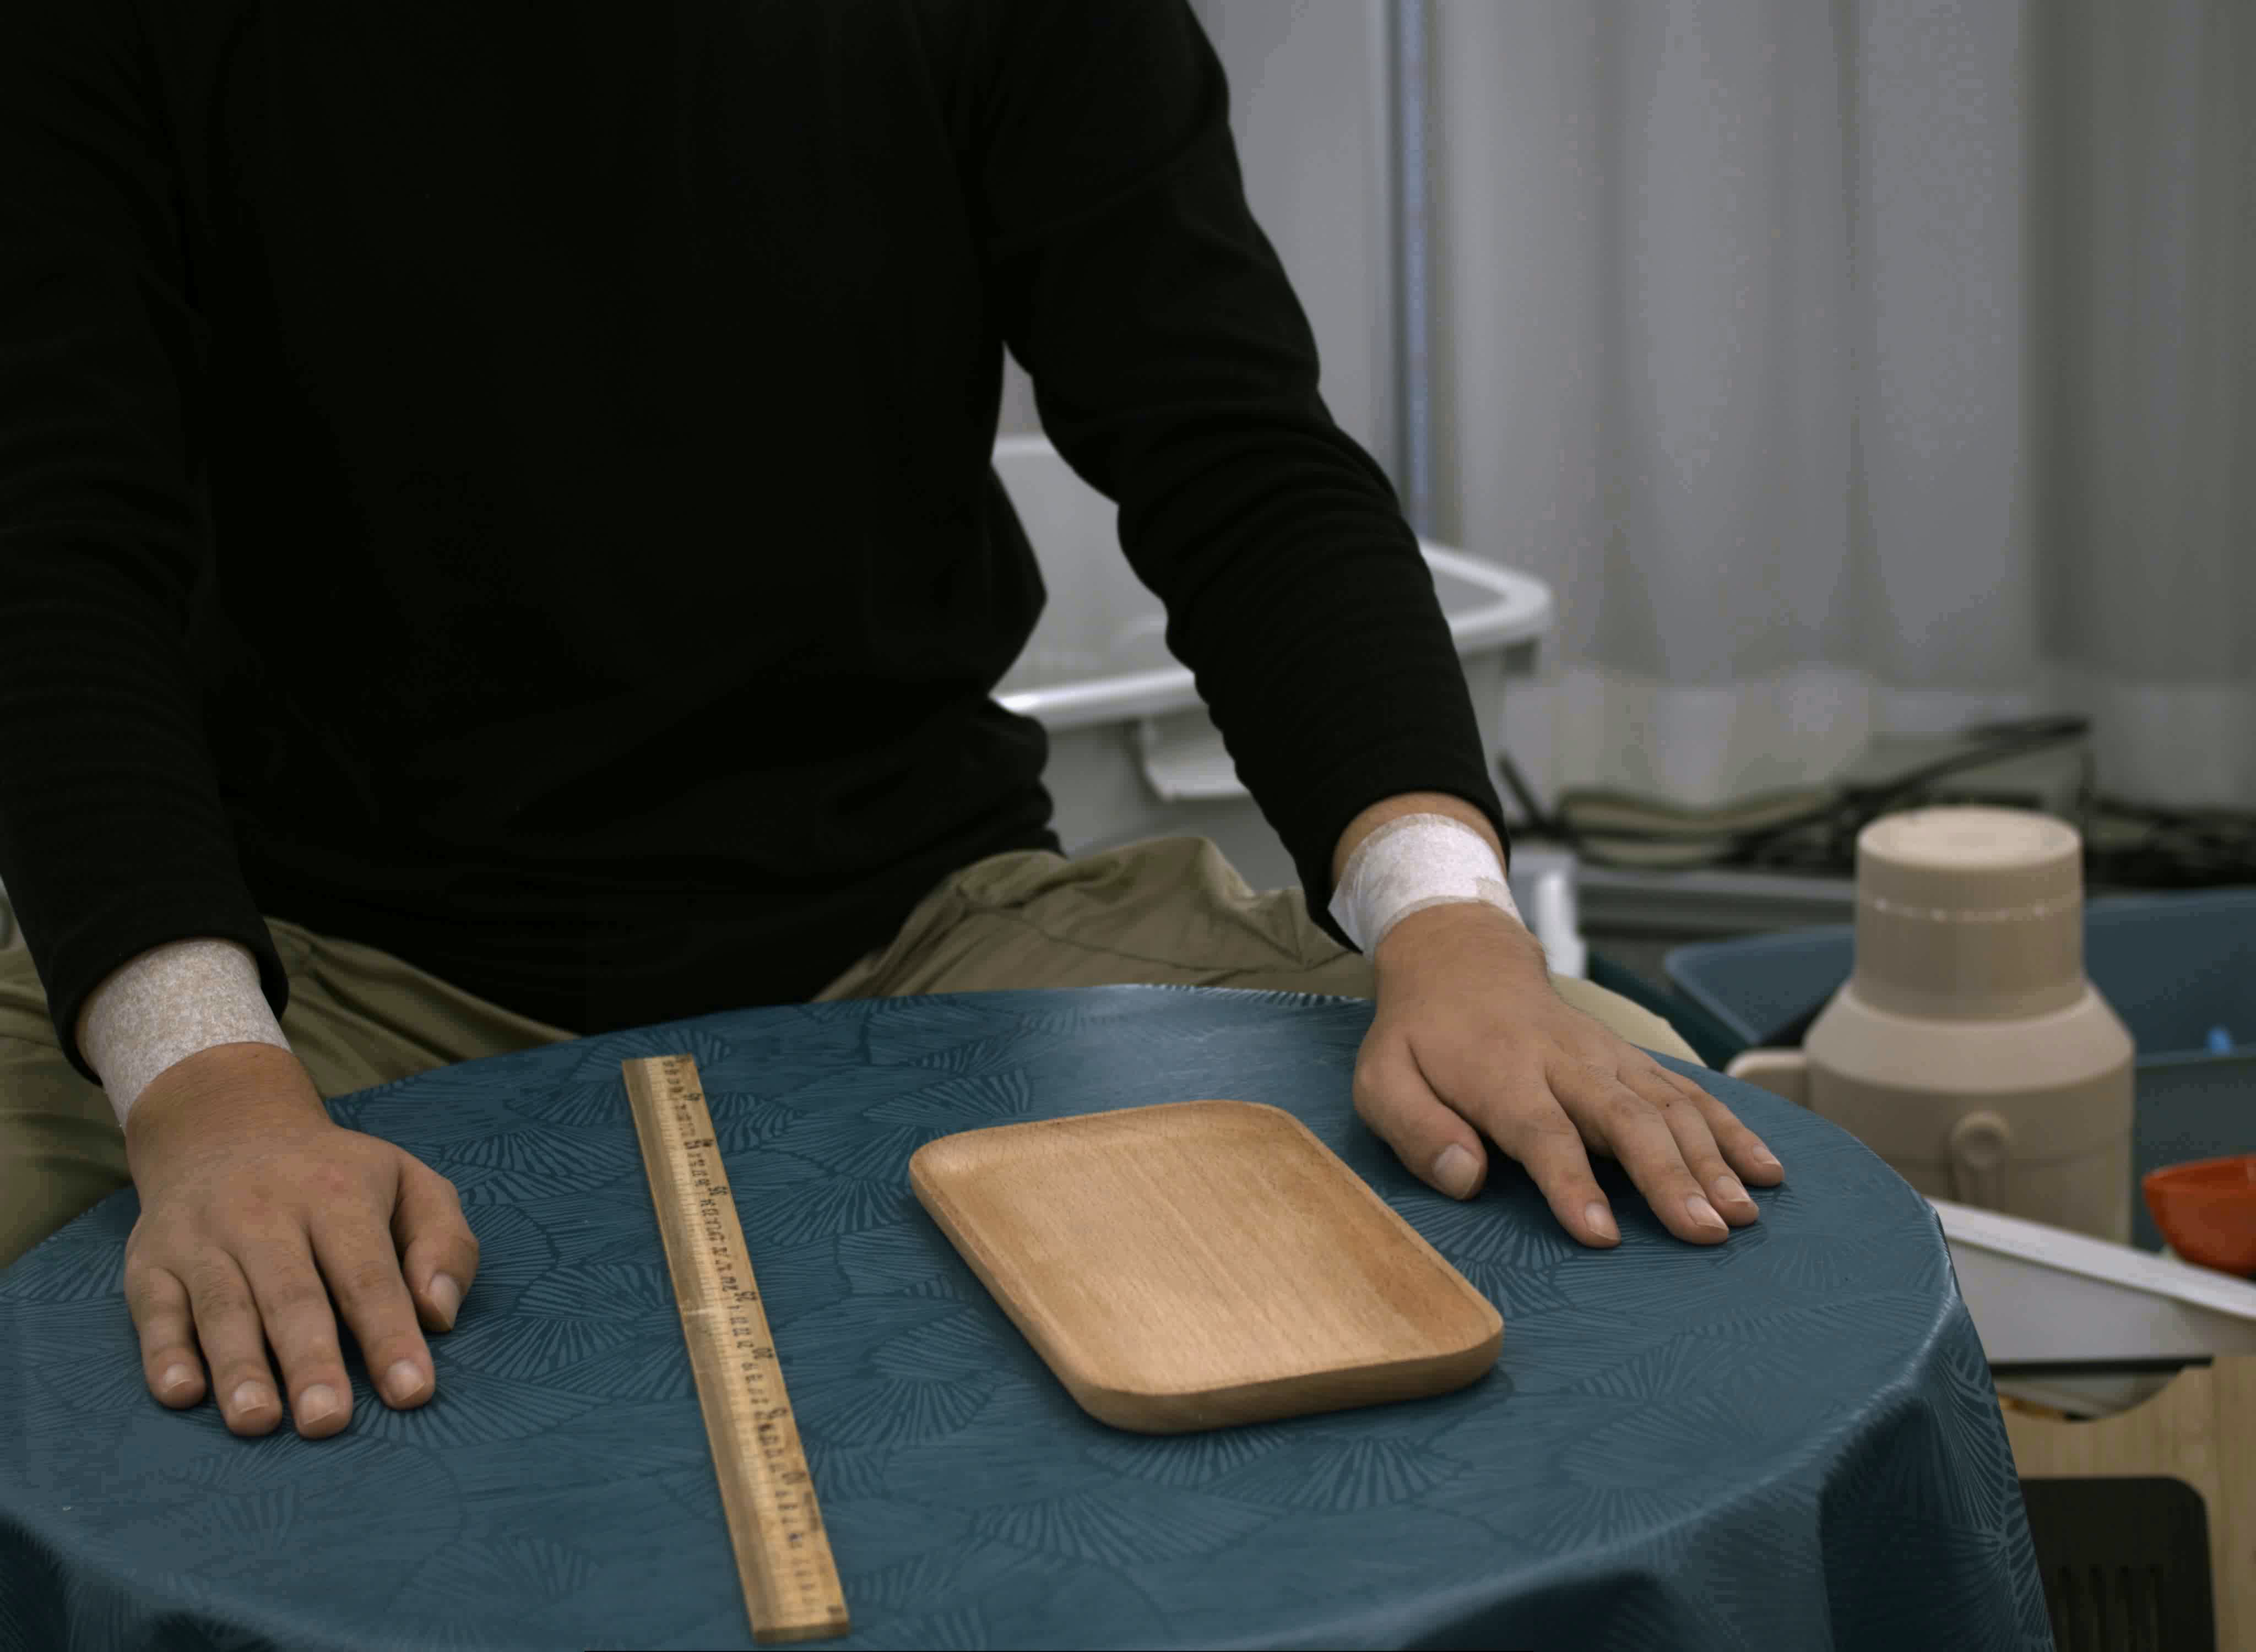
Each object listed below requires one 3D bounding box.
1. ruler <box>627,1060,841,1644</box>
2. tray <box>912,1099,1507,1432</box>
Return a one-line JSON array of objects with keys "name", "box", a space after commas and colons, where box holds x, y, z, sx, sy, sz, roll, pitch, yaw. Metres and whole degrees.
[{"name": "ruler", "box": [-0.121, 0.143, 1.622, 0.026, 0.006, 0.504, -3, 15, -8]}, {"name": "tray", "box": [0.020, 0.128, 1.628, 0.130, 0.023, 0.252, -4, 14, -14]}]
